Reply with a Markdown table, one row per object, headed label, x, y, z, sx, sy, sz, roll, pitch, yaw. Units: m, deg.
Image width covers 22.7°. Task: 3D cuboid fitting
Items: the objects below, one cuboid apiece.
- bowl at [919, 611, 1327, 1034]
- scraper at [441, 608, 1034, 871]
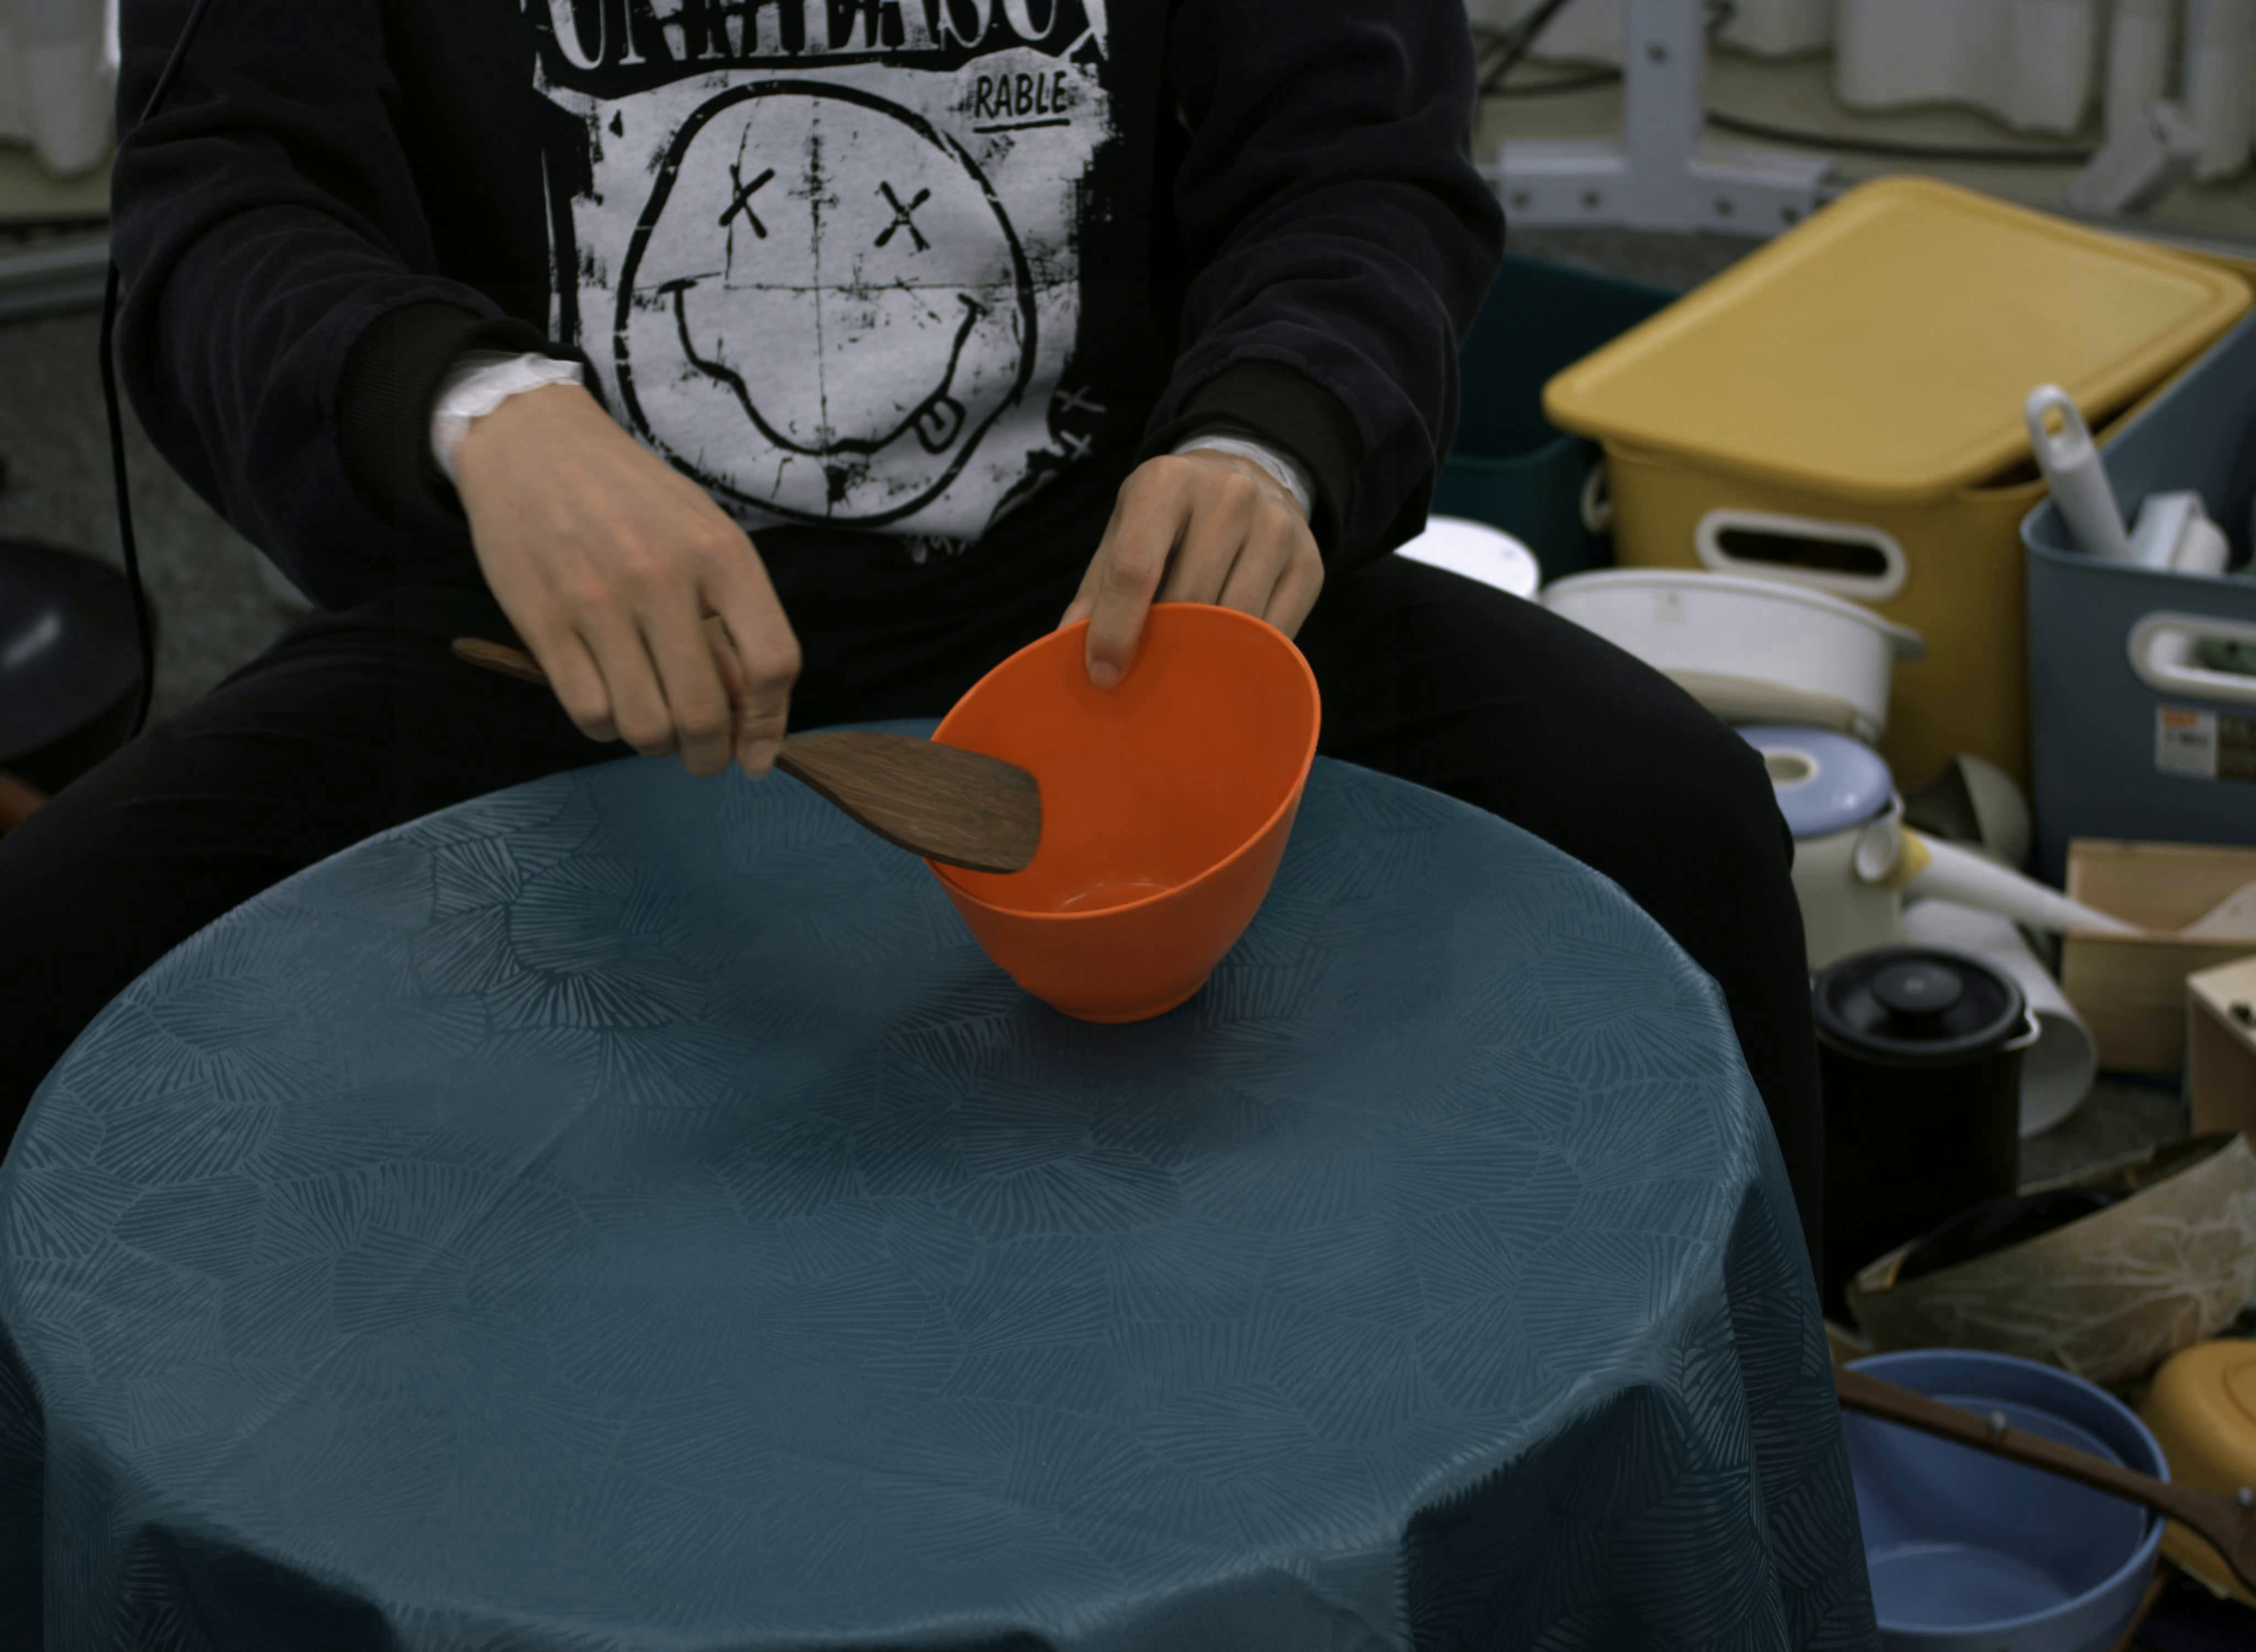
| label | x | y | z | sx | sy | sz | roll | pitch | yaw |
| --- | --- | --- | --- | --- | --- | --- | --- | --- | --- |
| bowl | 0.003 | 0.009 | 1.955 | 0.147 | 0.103 | 0.151 | -6 | 40 | 5 |
| scraper | -0.132 | -0.033 | 1.904 | 0.210 | 0.010 | 0.077 | 19 | 28 | -8 |
